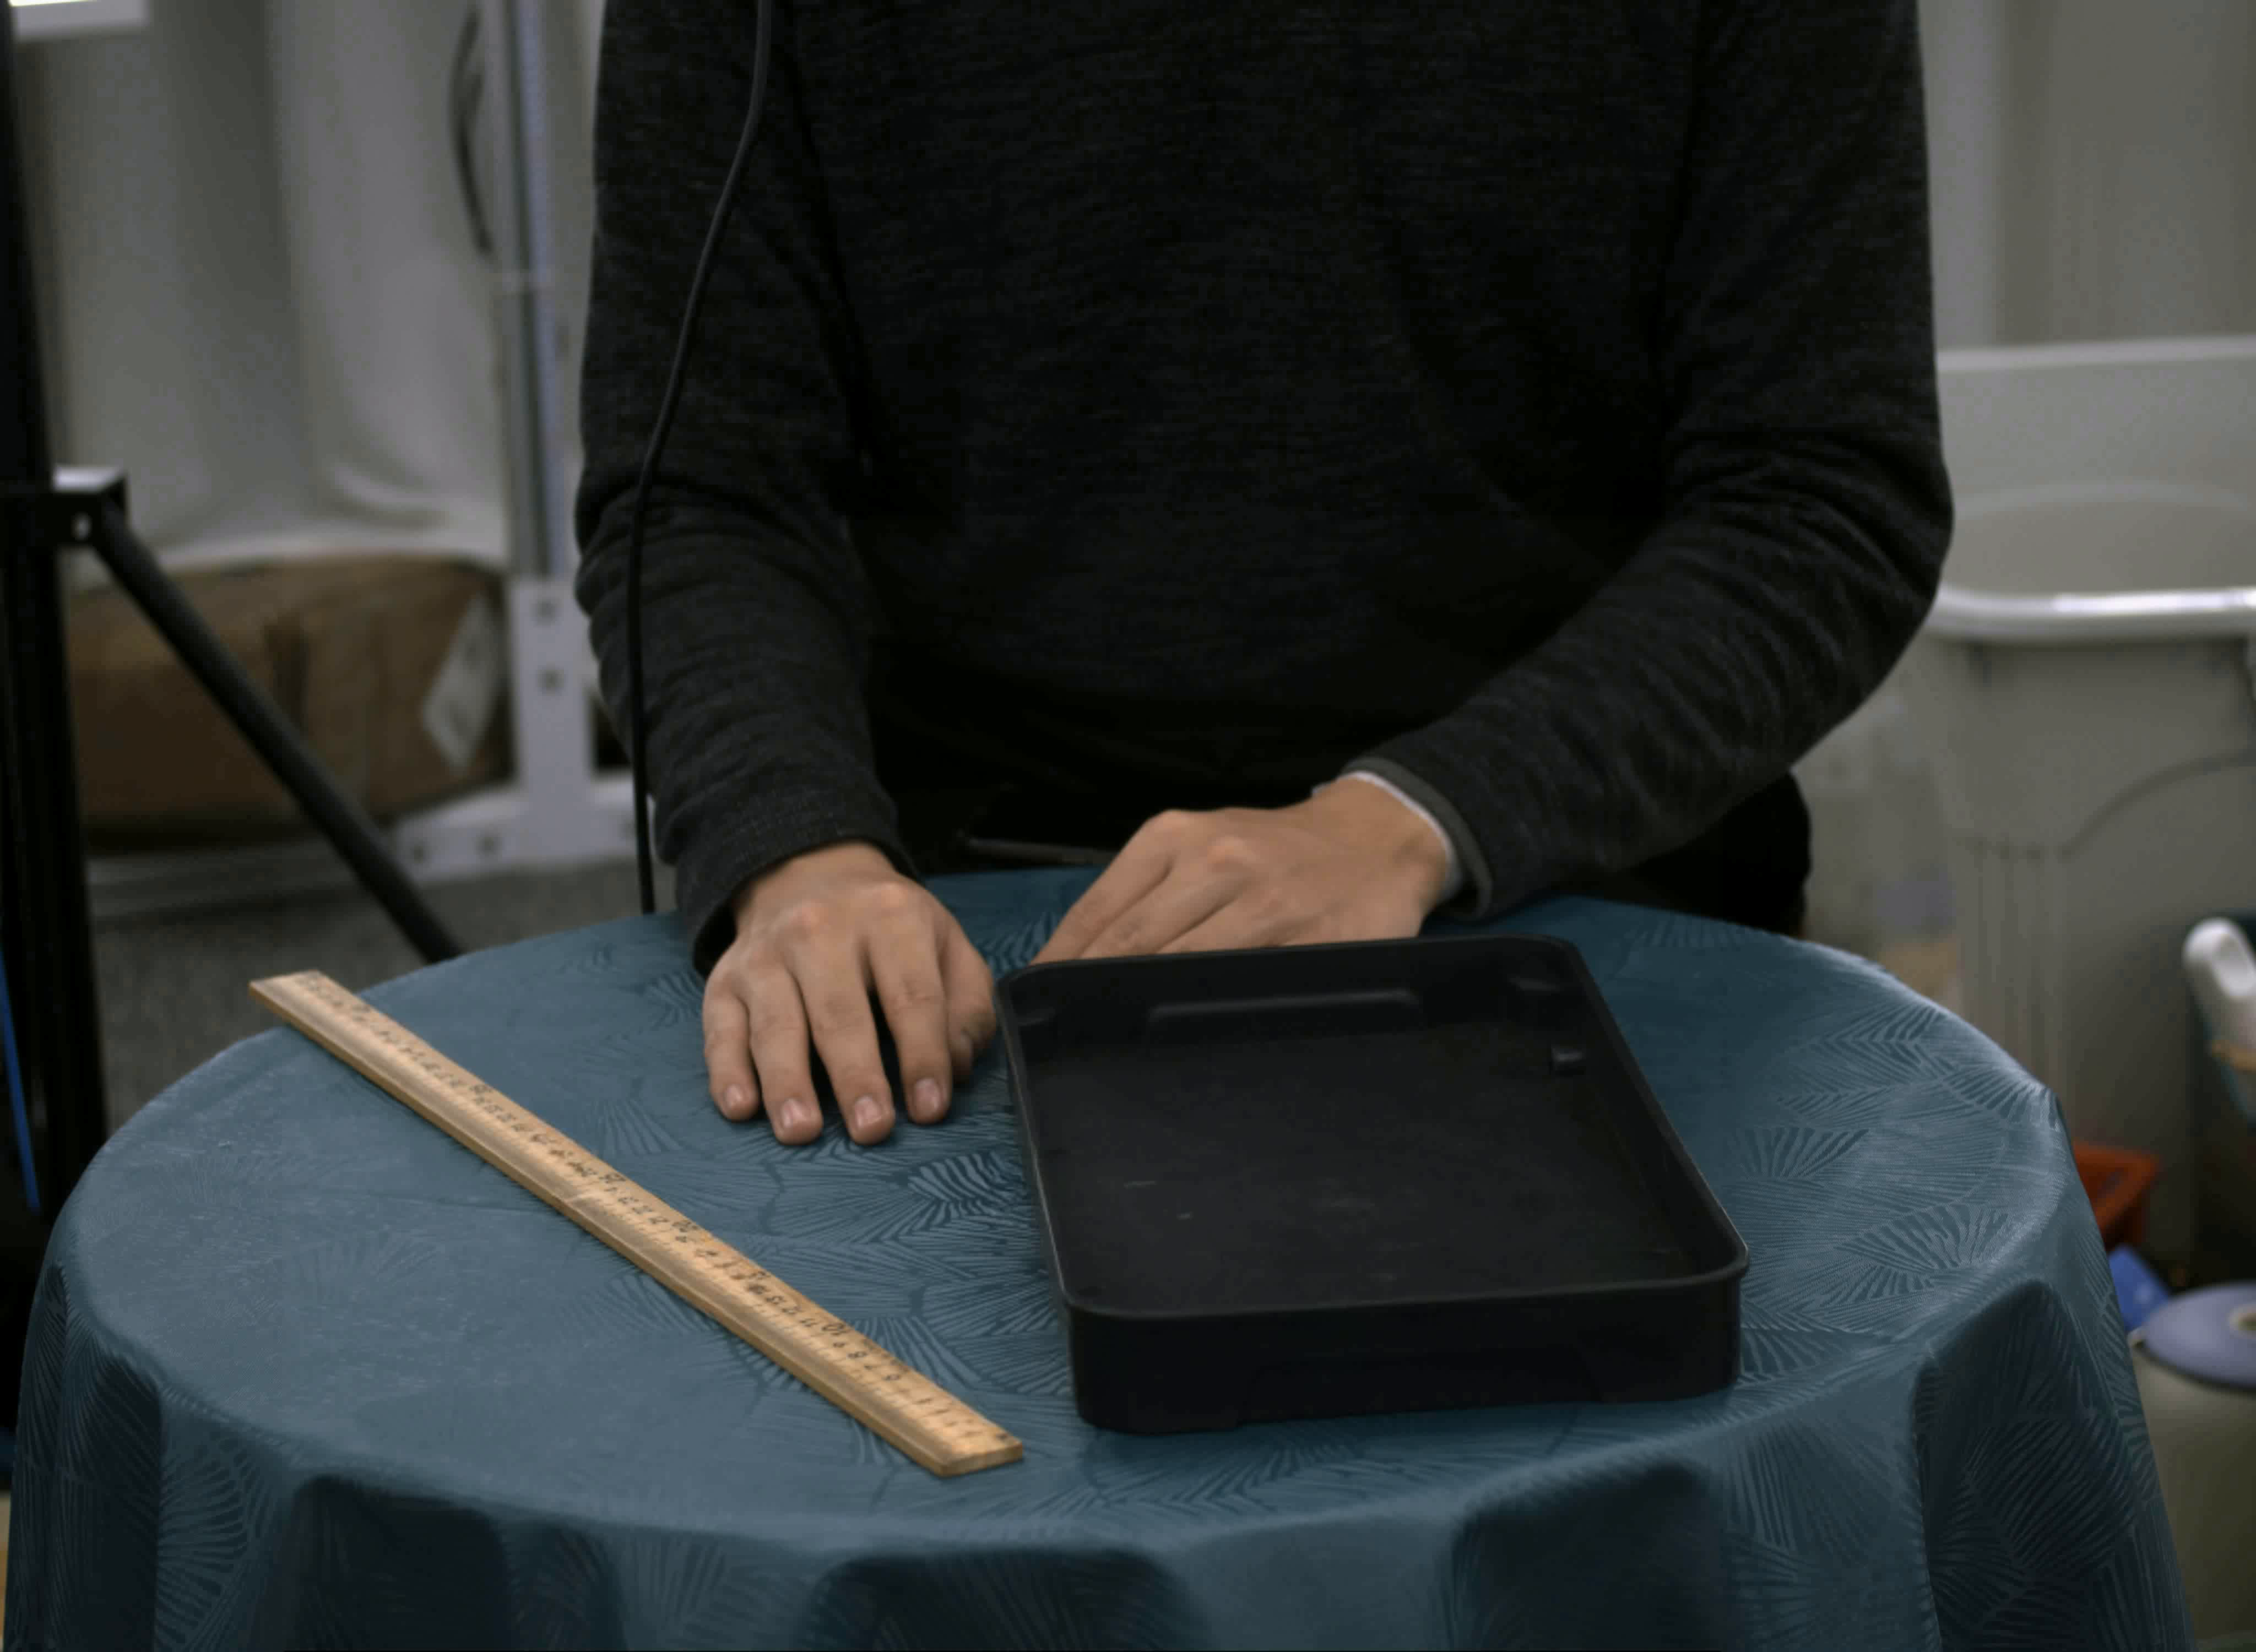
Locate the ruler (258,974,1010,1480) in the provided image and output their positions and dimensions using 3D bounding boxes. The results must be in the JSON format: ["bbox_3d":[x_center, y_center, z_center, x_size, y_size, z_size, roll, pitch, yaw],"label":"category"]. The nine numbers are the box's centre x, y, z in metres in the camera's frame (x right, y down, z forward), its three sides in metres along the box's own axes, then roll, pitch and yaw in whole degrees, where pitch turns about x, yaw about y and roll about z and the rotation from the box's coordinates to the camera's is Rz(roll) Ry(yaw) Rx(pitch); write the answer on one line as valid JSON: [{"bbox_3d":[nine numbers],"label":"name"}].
[{"bbox_3d":[-0.159,0.108,1.573,0.026,0.006,0.511,-8,16,-27],"label":"ruler"}]

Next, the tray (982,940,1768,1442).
[{"bbox_3d":[0.062,0.098,1.517,0.183,0.037,0.320,-4,15,-5],"label":"tray"}]
